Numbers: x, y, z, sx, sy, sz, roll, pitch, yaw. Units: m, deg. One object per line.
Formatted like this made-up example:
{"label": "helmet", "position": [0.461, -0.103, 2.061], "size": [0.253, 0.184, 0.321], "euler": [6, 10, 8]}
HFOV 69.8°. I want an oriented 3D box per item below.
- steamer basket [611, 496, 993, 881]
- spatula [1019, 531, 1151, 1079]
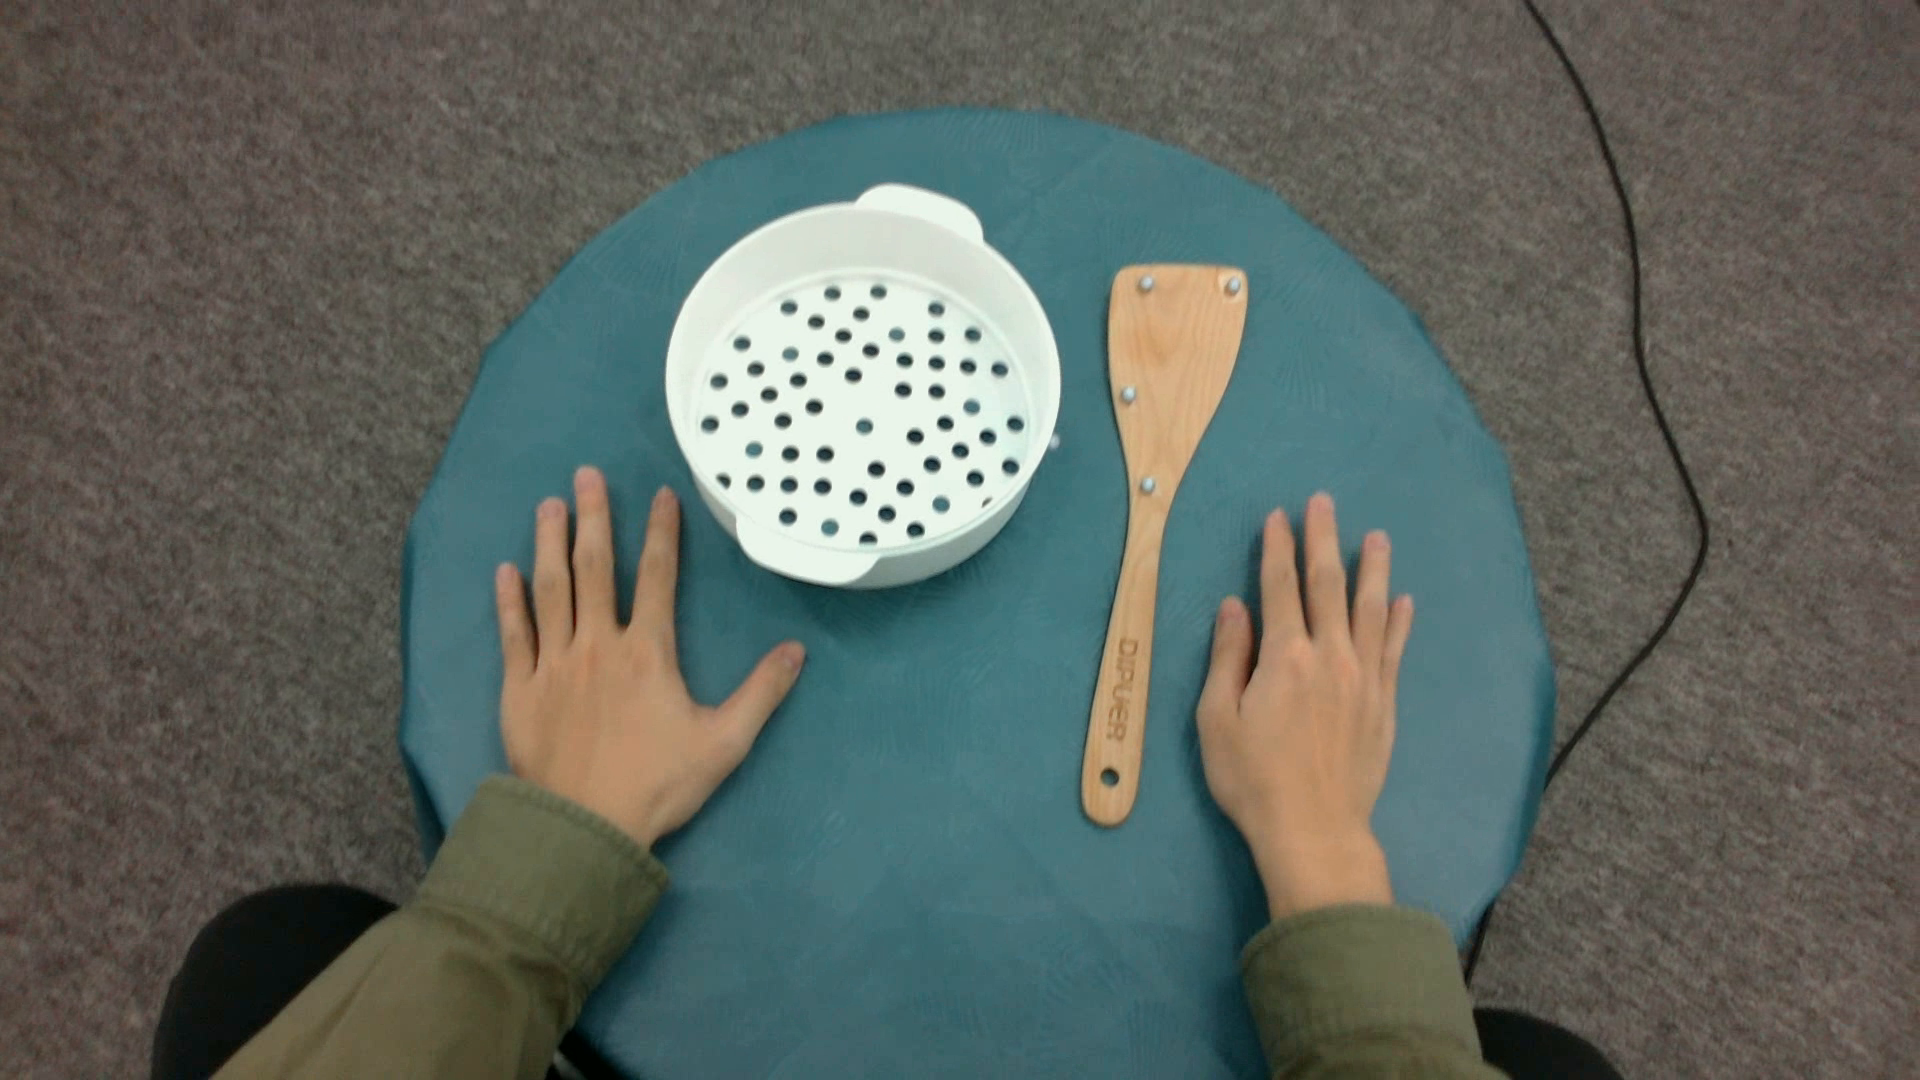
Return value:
{"label": "steamer basket", "position": [-0.083, 0.085, 0.755], "size": [0.202, 0.069, 0.231], "euler": [5, 56, 4]}
{"label": "spatula", "position": [0.074, 0.131, 0.753], "size": [0.080, 0.016, 0.329], "euler": [1, 54, 0]}
